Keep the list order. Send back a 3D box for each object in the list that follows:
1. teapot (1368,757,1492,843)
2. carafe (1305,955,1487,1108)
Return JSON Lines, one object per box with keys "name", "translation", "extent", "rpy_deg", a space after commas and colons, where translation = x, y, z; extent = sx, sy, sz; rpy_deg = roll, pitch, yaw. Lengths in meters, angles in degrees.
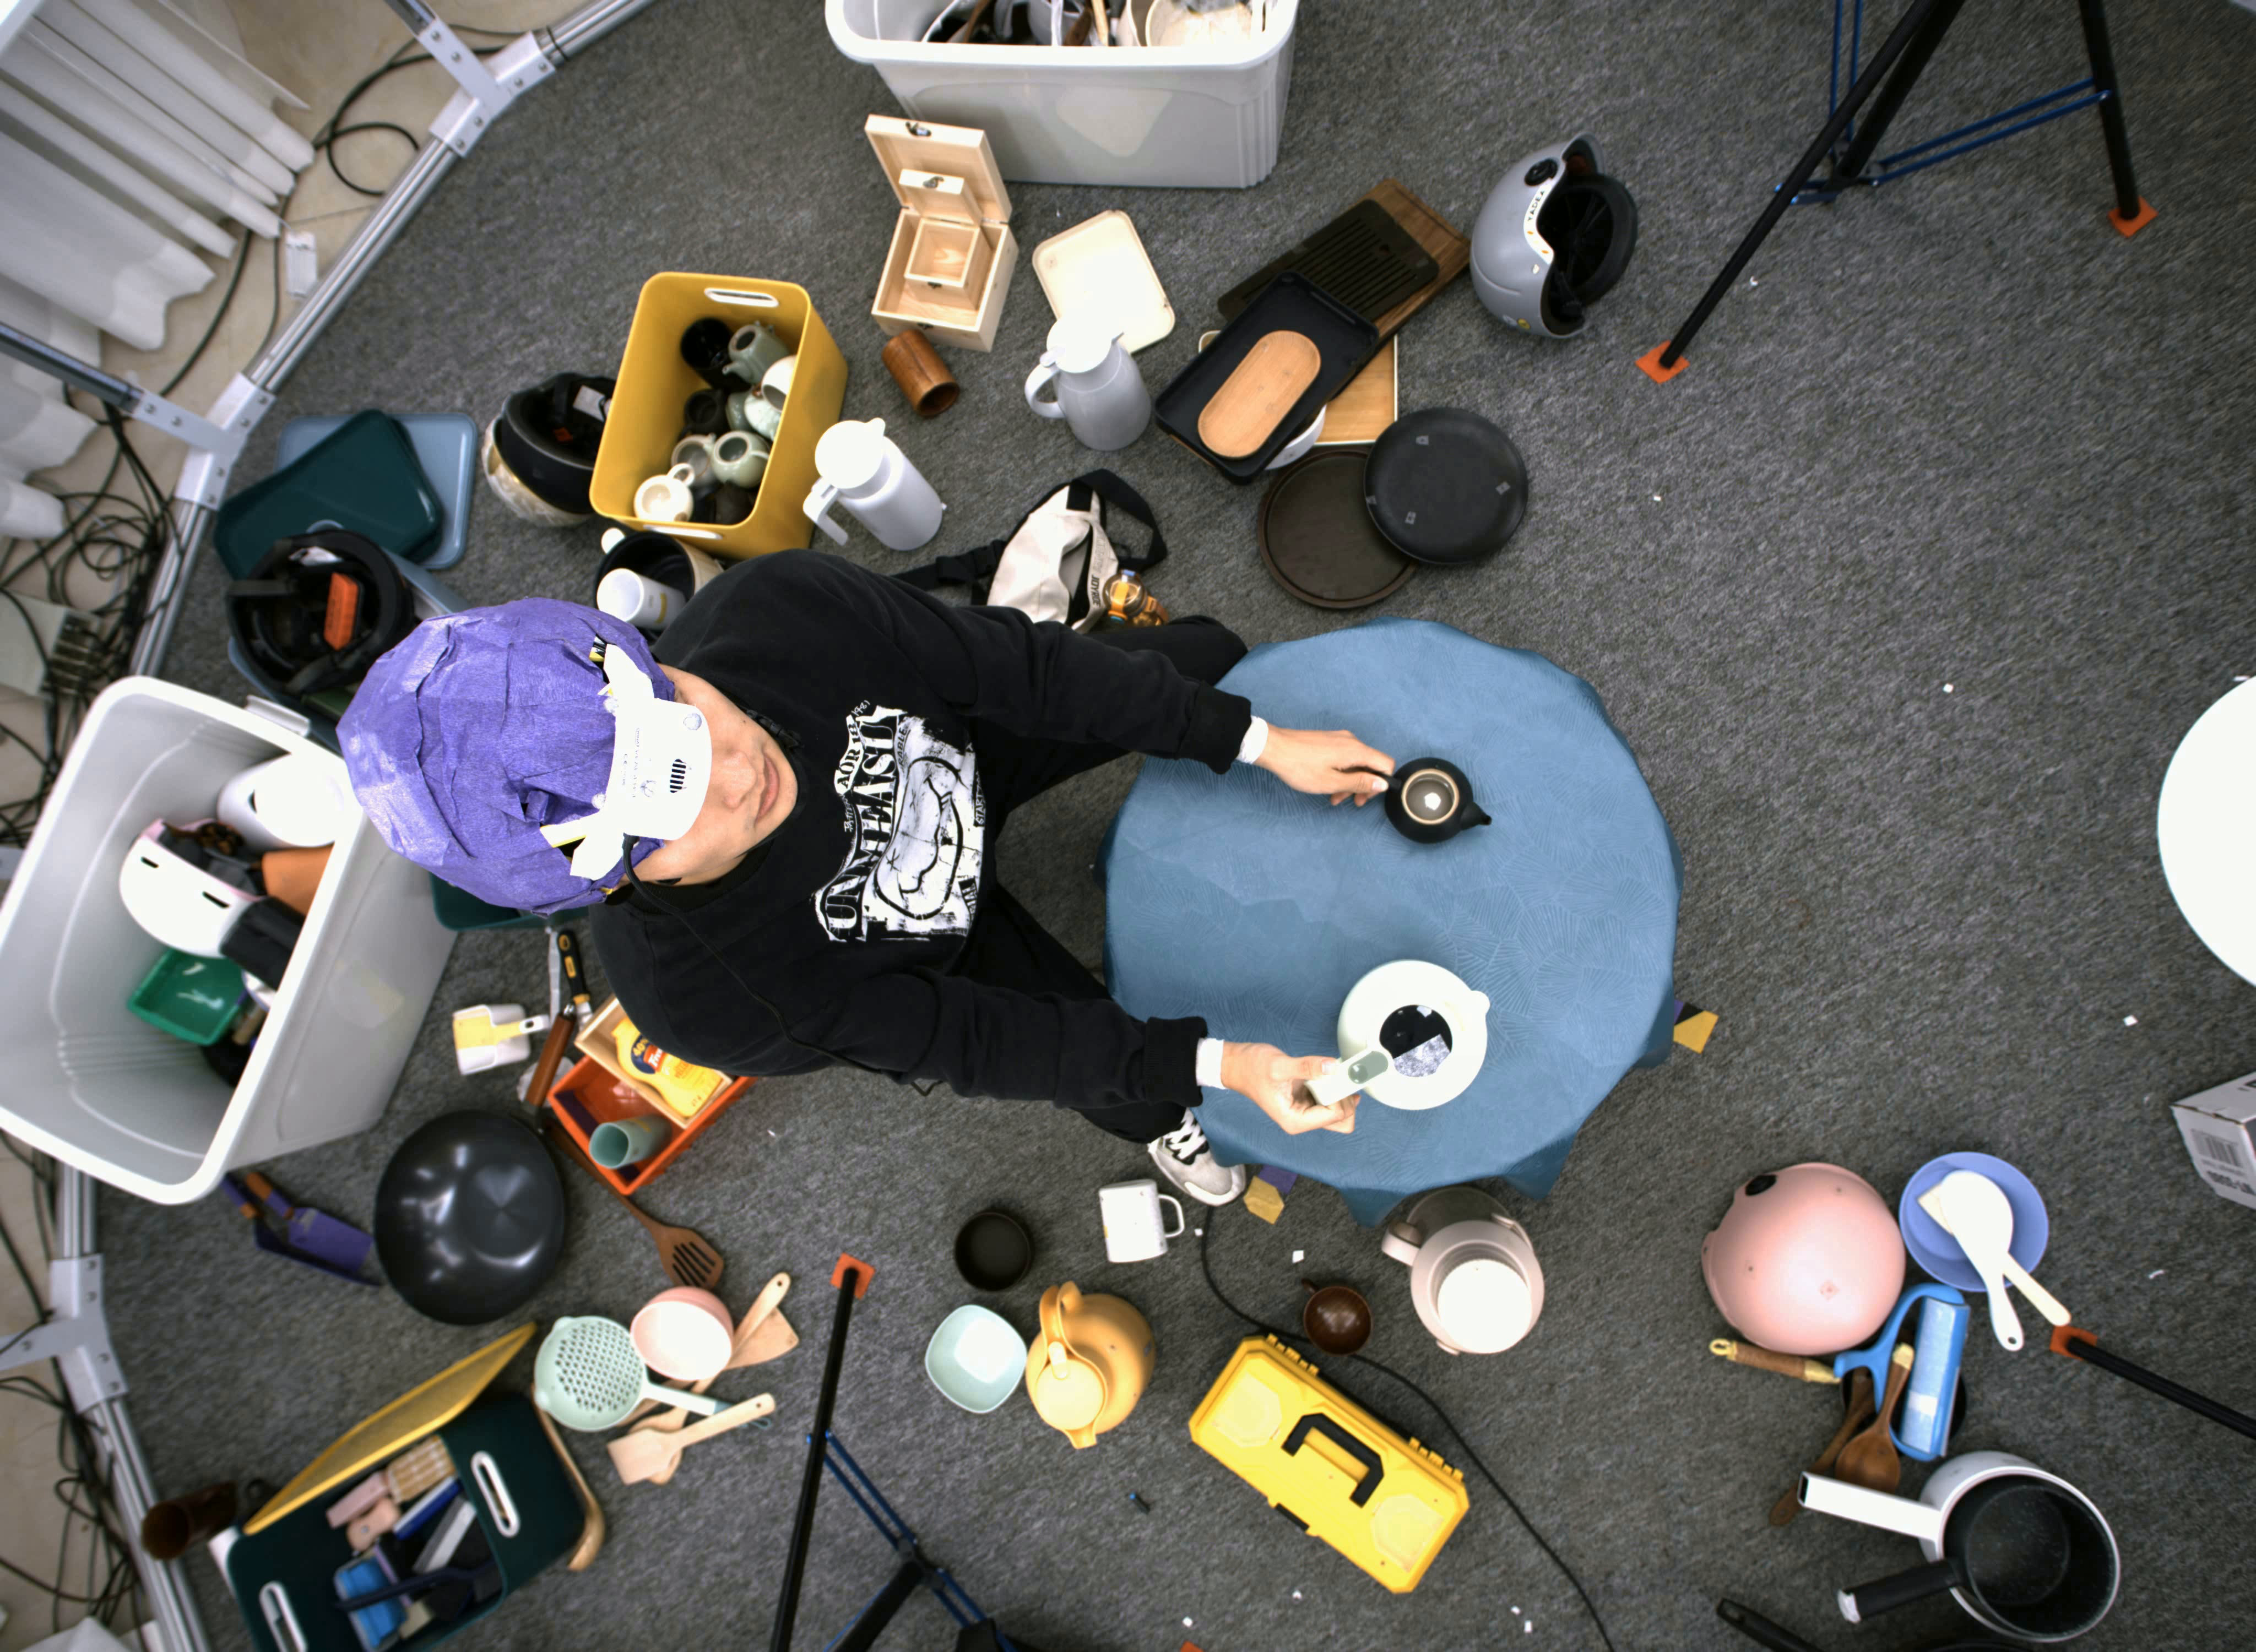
{"name": "teapot", "translation": [0.313, -0.030, 1.430], "extent": [0.133, 0.053, 0.091], "rpy_deg": [23, 89, 10]}
{"name": "carafe", "translation": [0.260, 0.205, 1.330], "extent": [0.188, 0.256, 0.143], "rpy_deg": [-32, 82, 10]}
